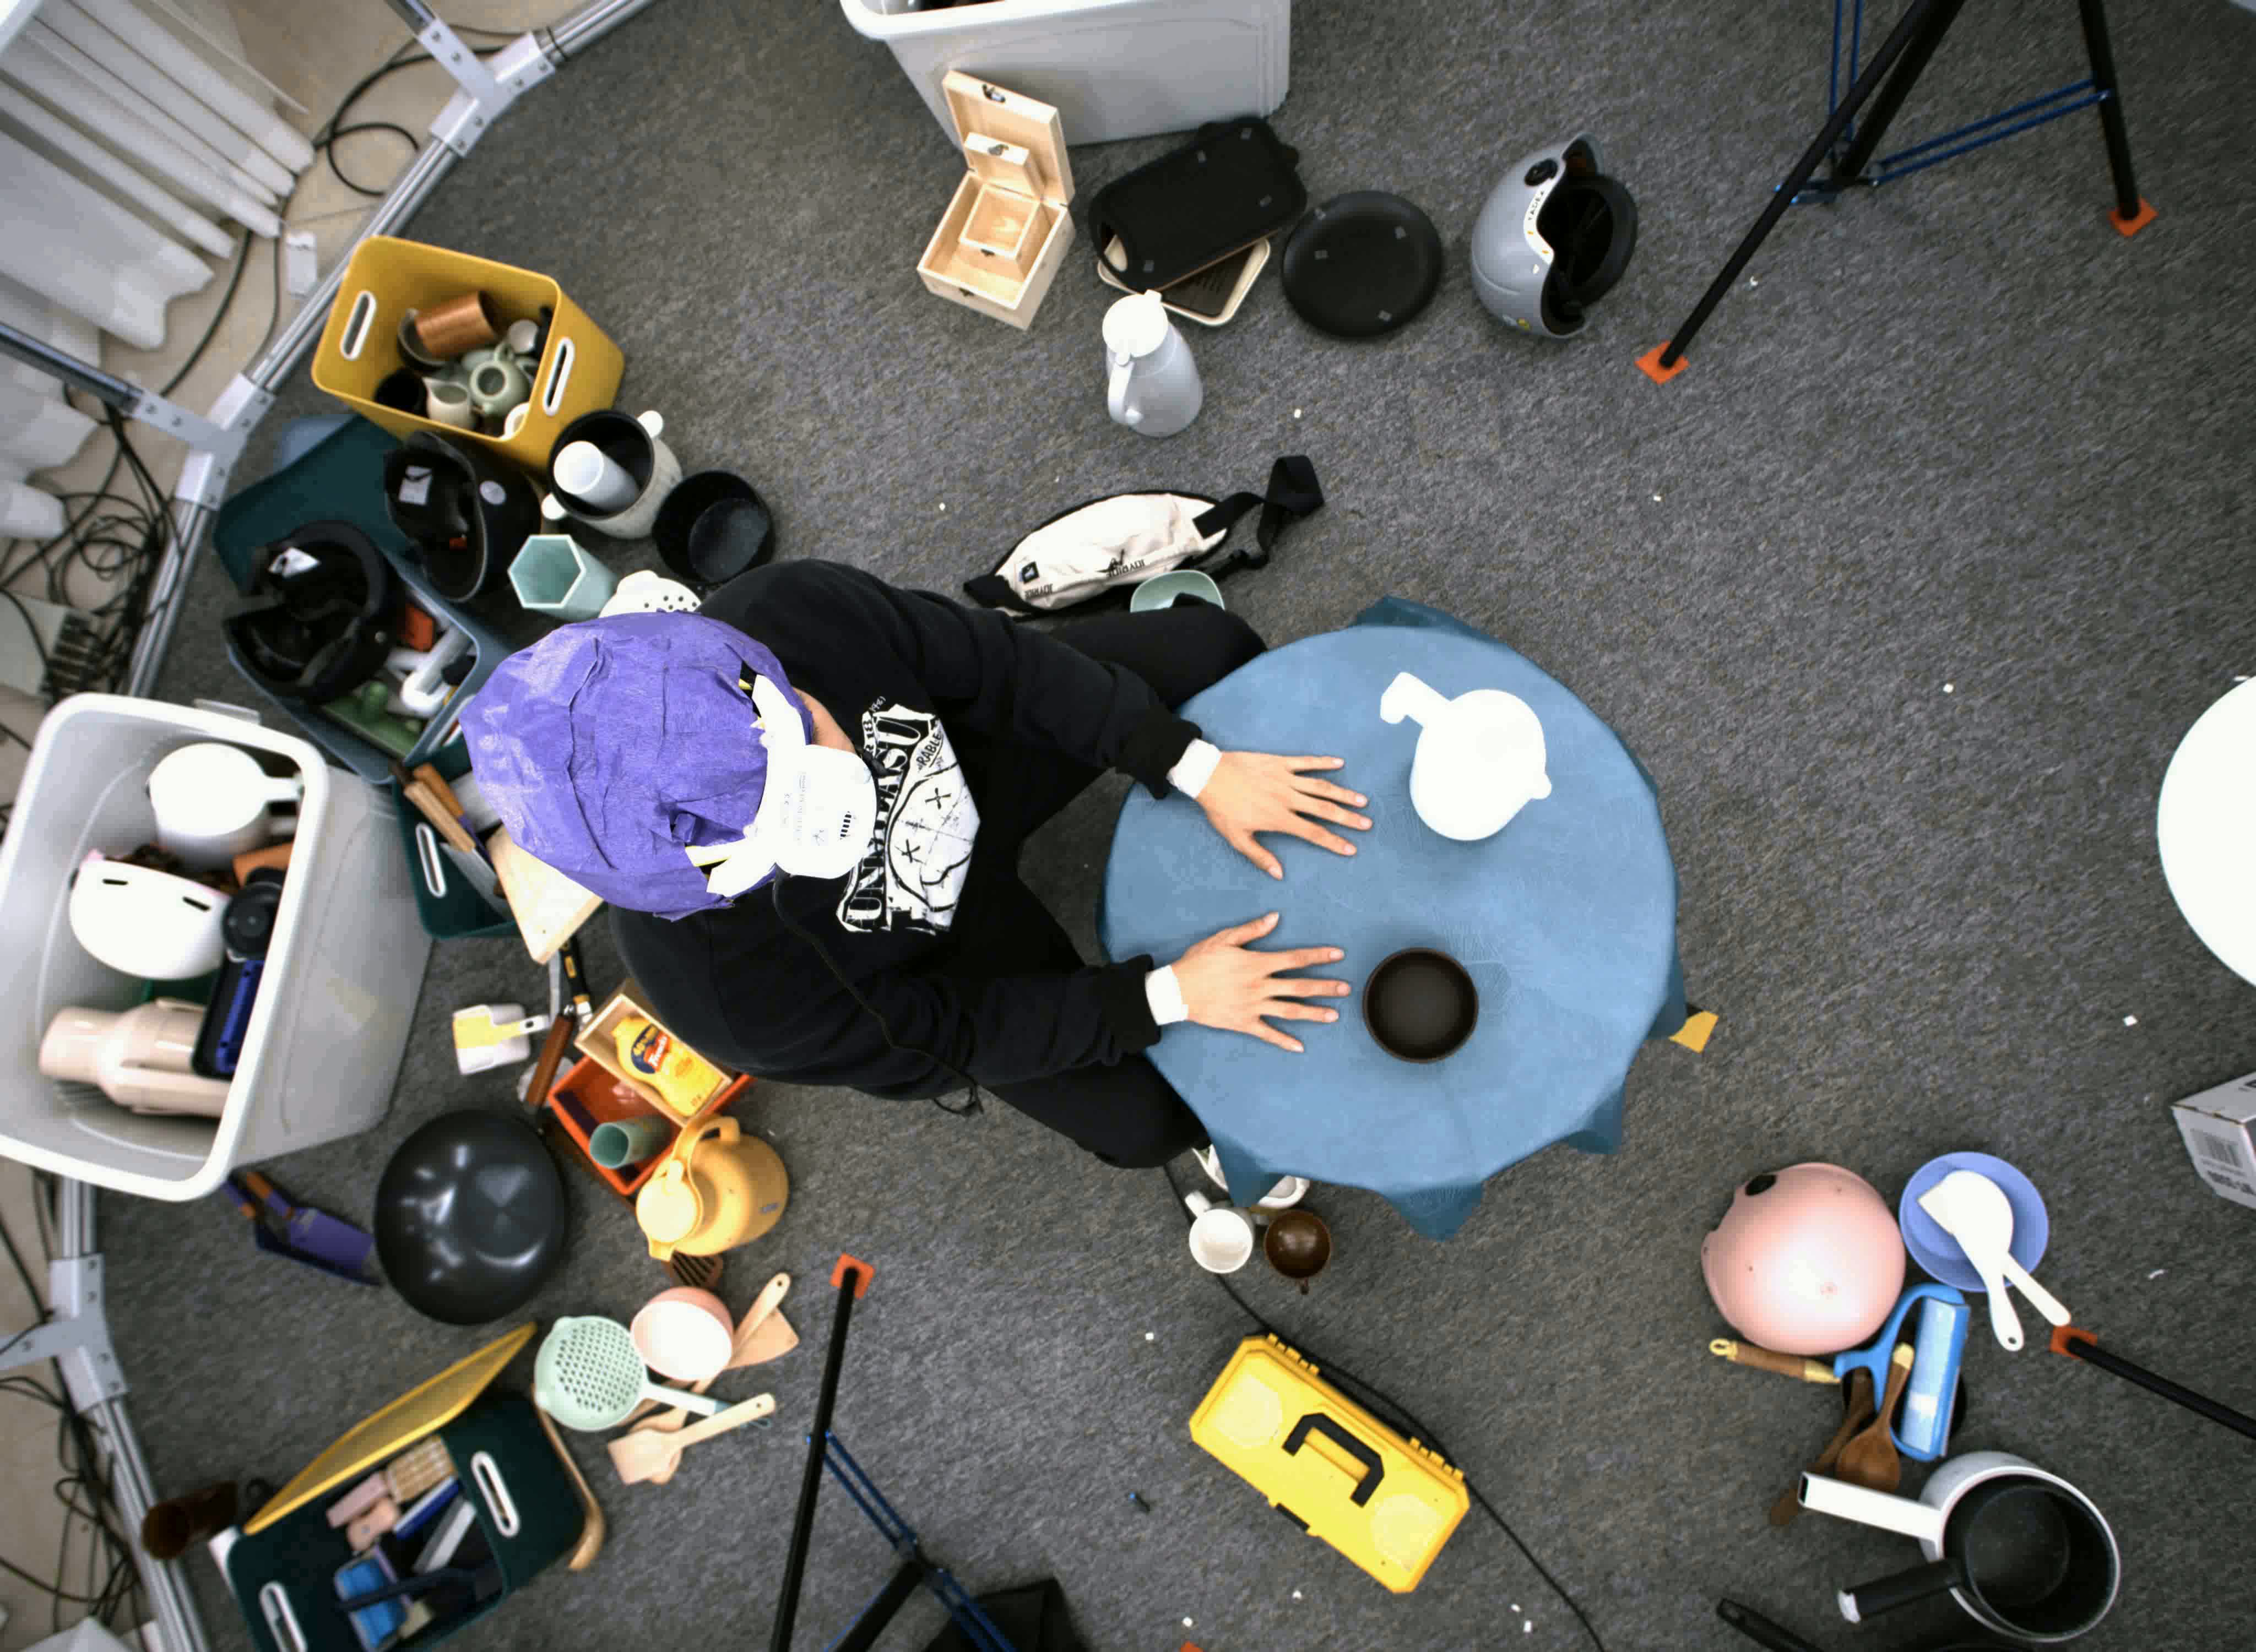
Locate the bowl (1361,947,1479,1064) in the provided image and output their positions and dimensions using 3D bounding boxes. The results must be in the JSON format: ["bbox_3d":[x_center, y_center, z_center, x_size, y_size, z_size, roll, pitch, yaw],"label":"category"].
[{"bbox_3d":[0.298,0.181,1.413,0.118,0.070,0.117,-1,86,11],"label":"bowl"}]

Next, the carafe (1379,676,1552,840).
[{"bbox_3d":[0.319,-0.066,1.323,0.172,0.268,0.124,37,94,11],"label":"carafe"}]
